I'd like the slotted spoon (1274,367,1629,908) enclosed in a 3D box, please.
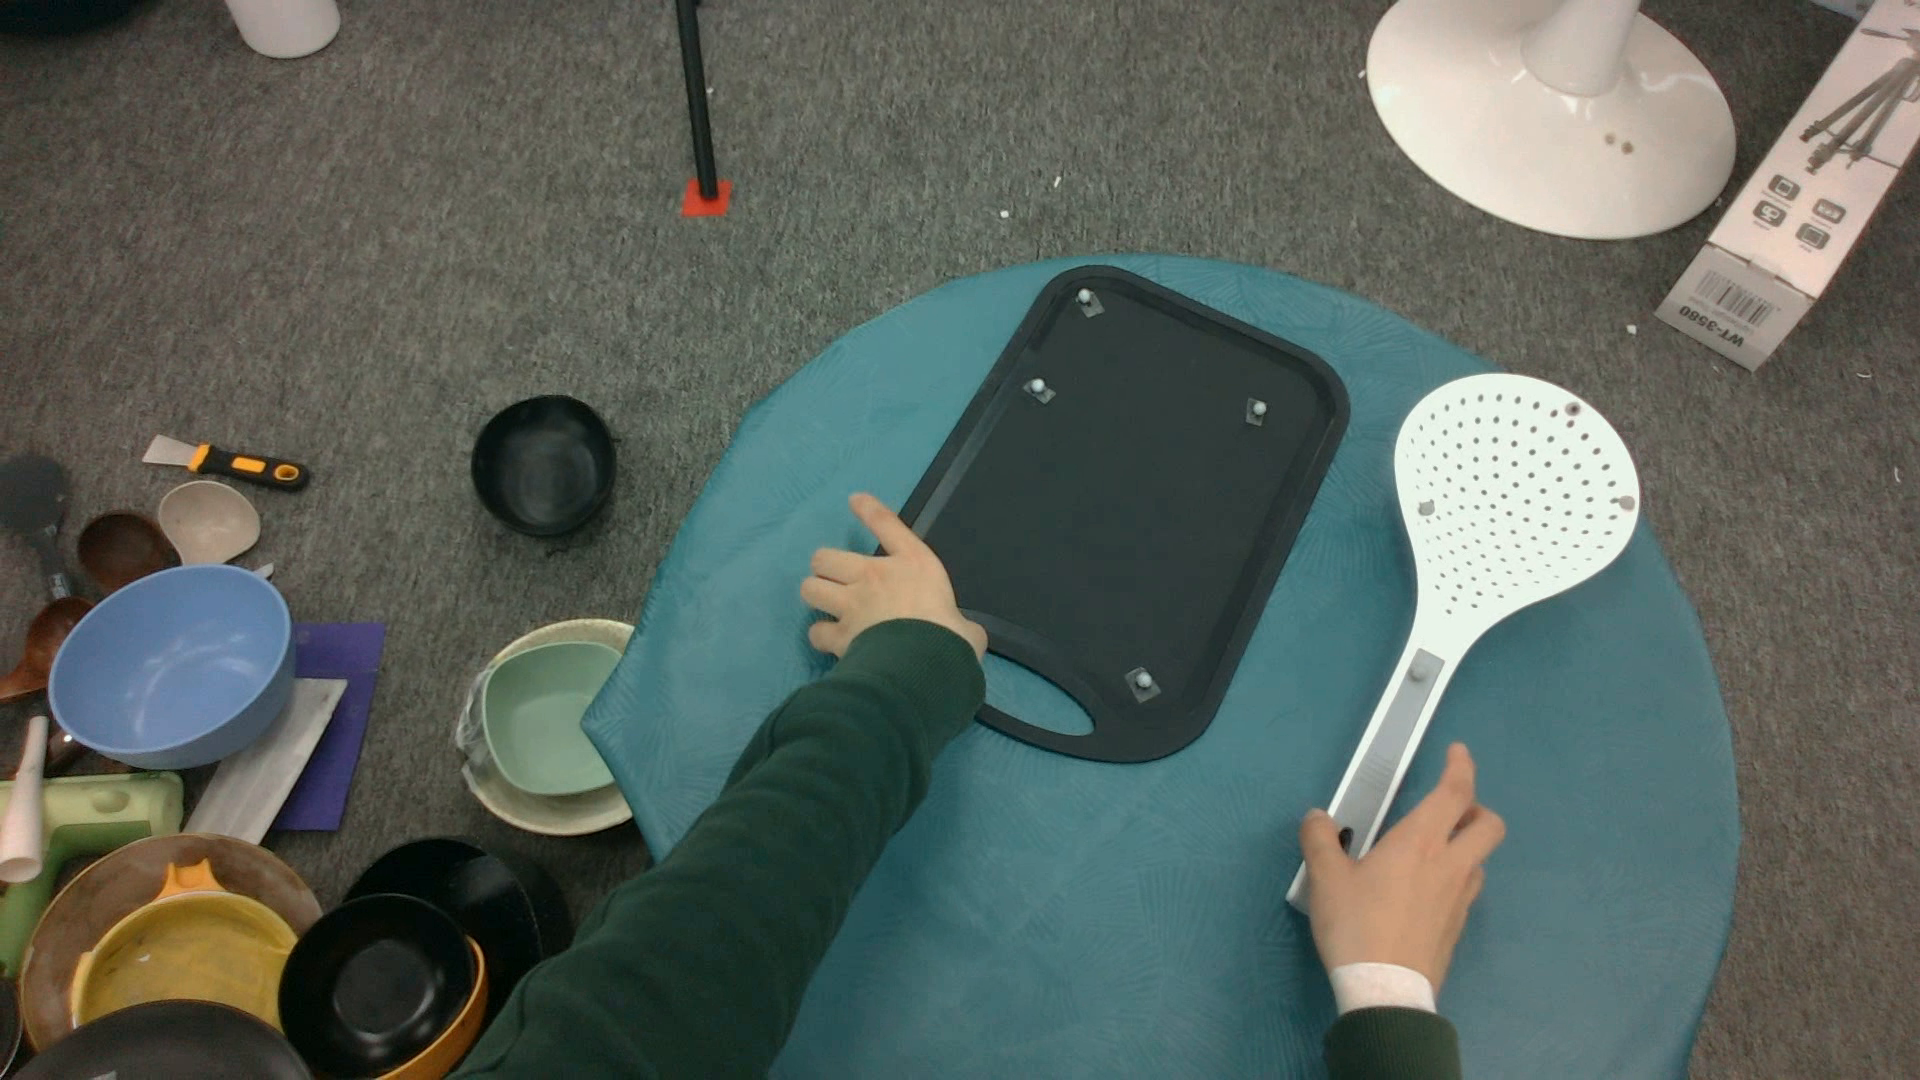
[{"bbox_3d":[0.259,0.045,0.755,0.136,0.045,0.351,29,63,12],"label":"slotted spoon"}]

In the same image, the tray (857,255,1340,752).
[{"bbox_3d":[0.085,-0.031,0.804,0.211,0.010,0.327,26,62,10],"label":"tray"}]
